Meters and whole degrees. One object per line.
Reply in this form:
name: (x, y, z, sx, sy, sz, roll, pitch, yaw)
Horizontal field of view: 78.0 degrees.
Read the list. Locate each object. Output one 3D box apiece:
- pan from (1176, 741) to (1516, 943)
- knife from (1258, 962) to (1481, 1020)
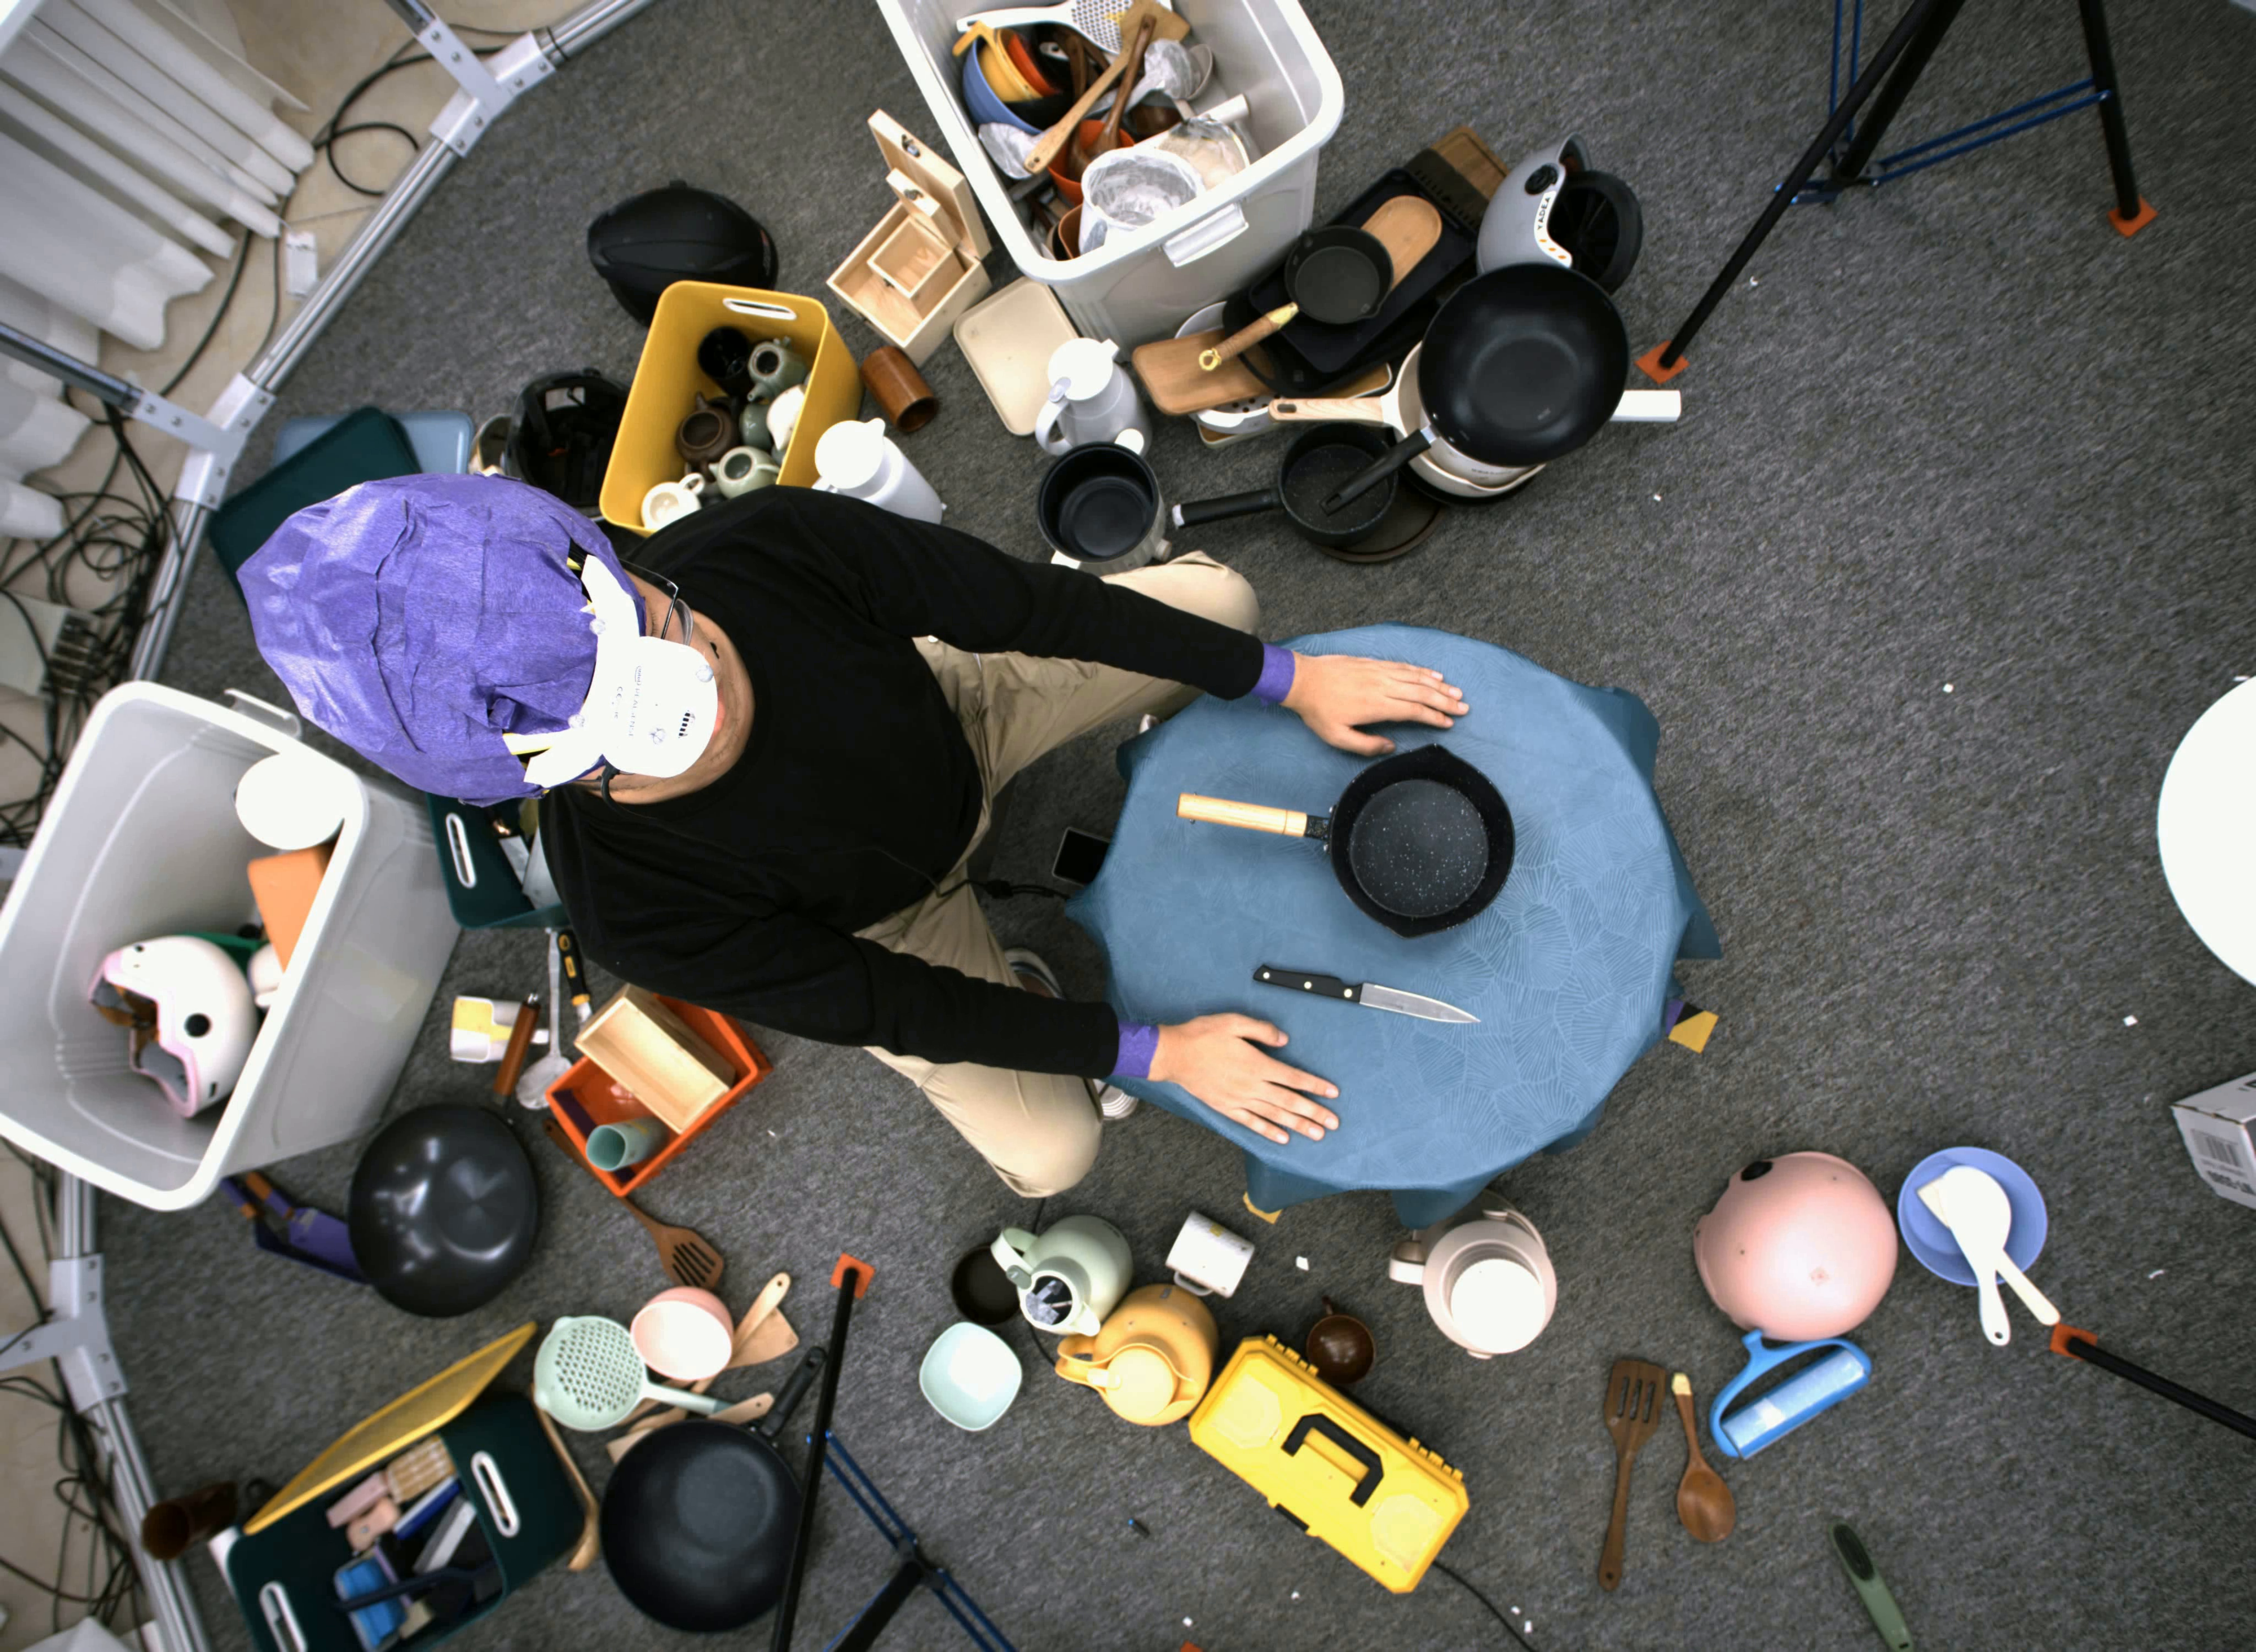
pan: (0.221, 0.007, 1.420, 0.343, 0.108, 0.207, 8, 89, 10)
knife: (0.252, 0.176, 1.454, 0.238, 0.016, 0.024, 12, 87, 8)
